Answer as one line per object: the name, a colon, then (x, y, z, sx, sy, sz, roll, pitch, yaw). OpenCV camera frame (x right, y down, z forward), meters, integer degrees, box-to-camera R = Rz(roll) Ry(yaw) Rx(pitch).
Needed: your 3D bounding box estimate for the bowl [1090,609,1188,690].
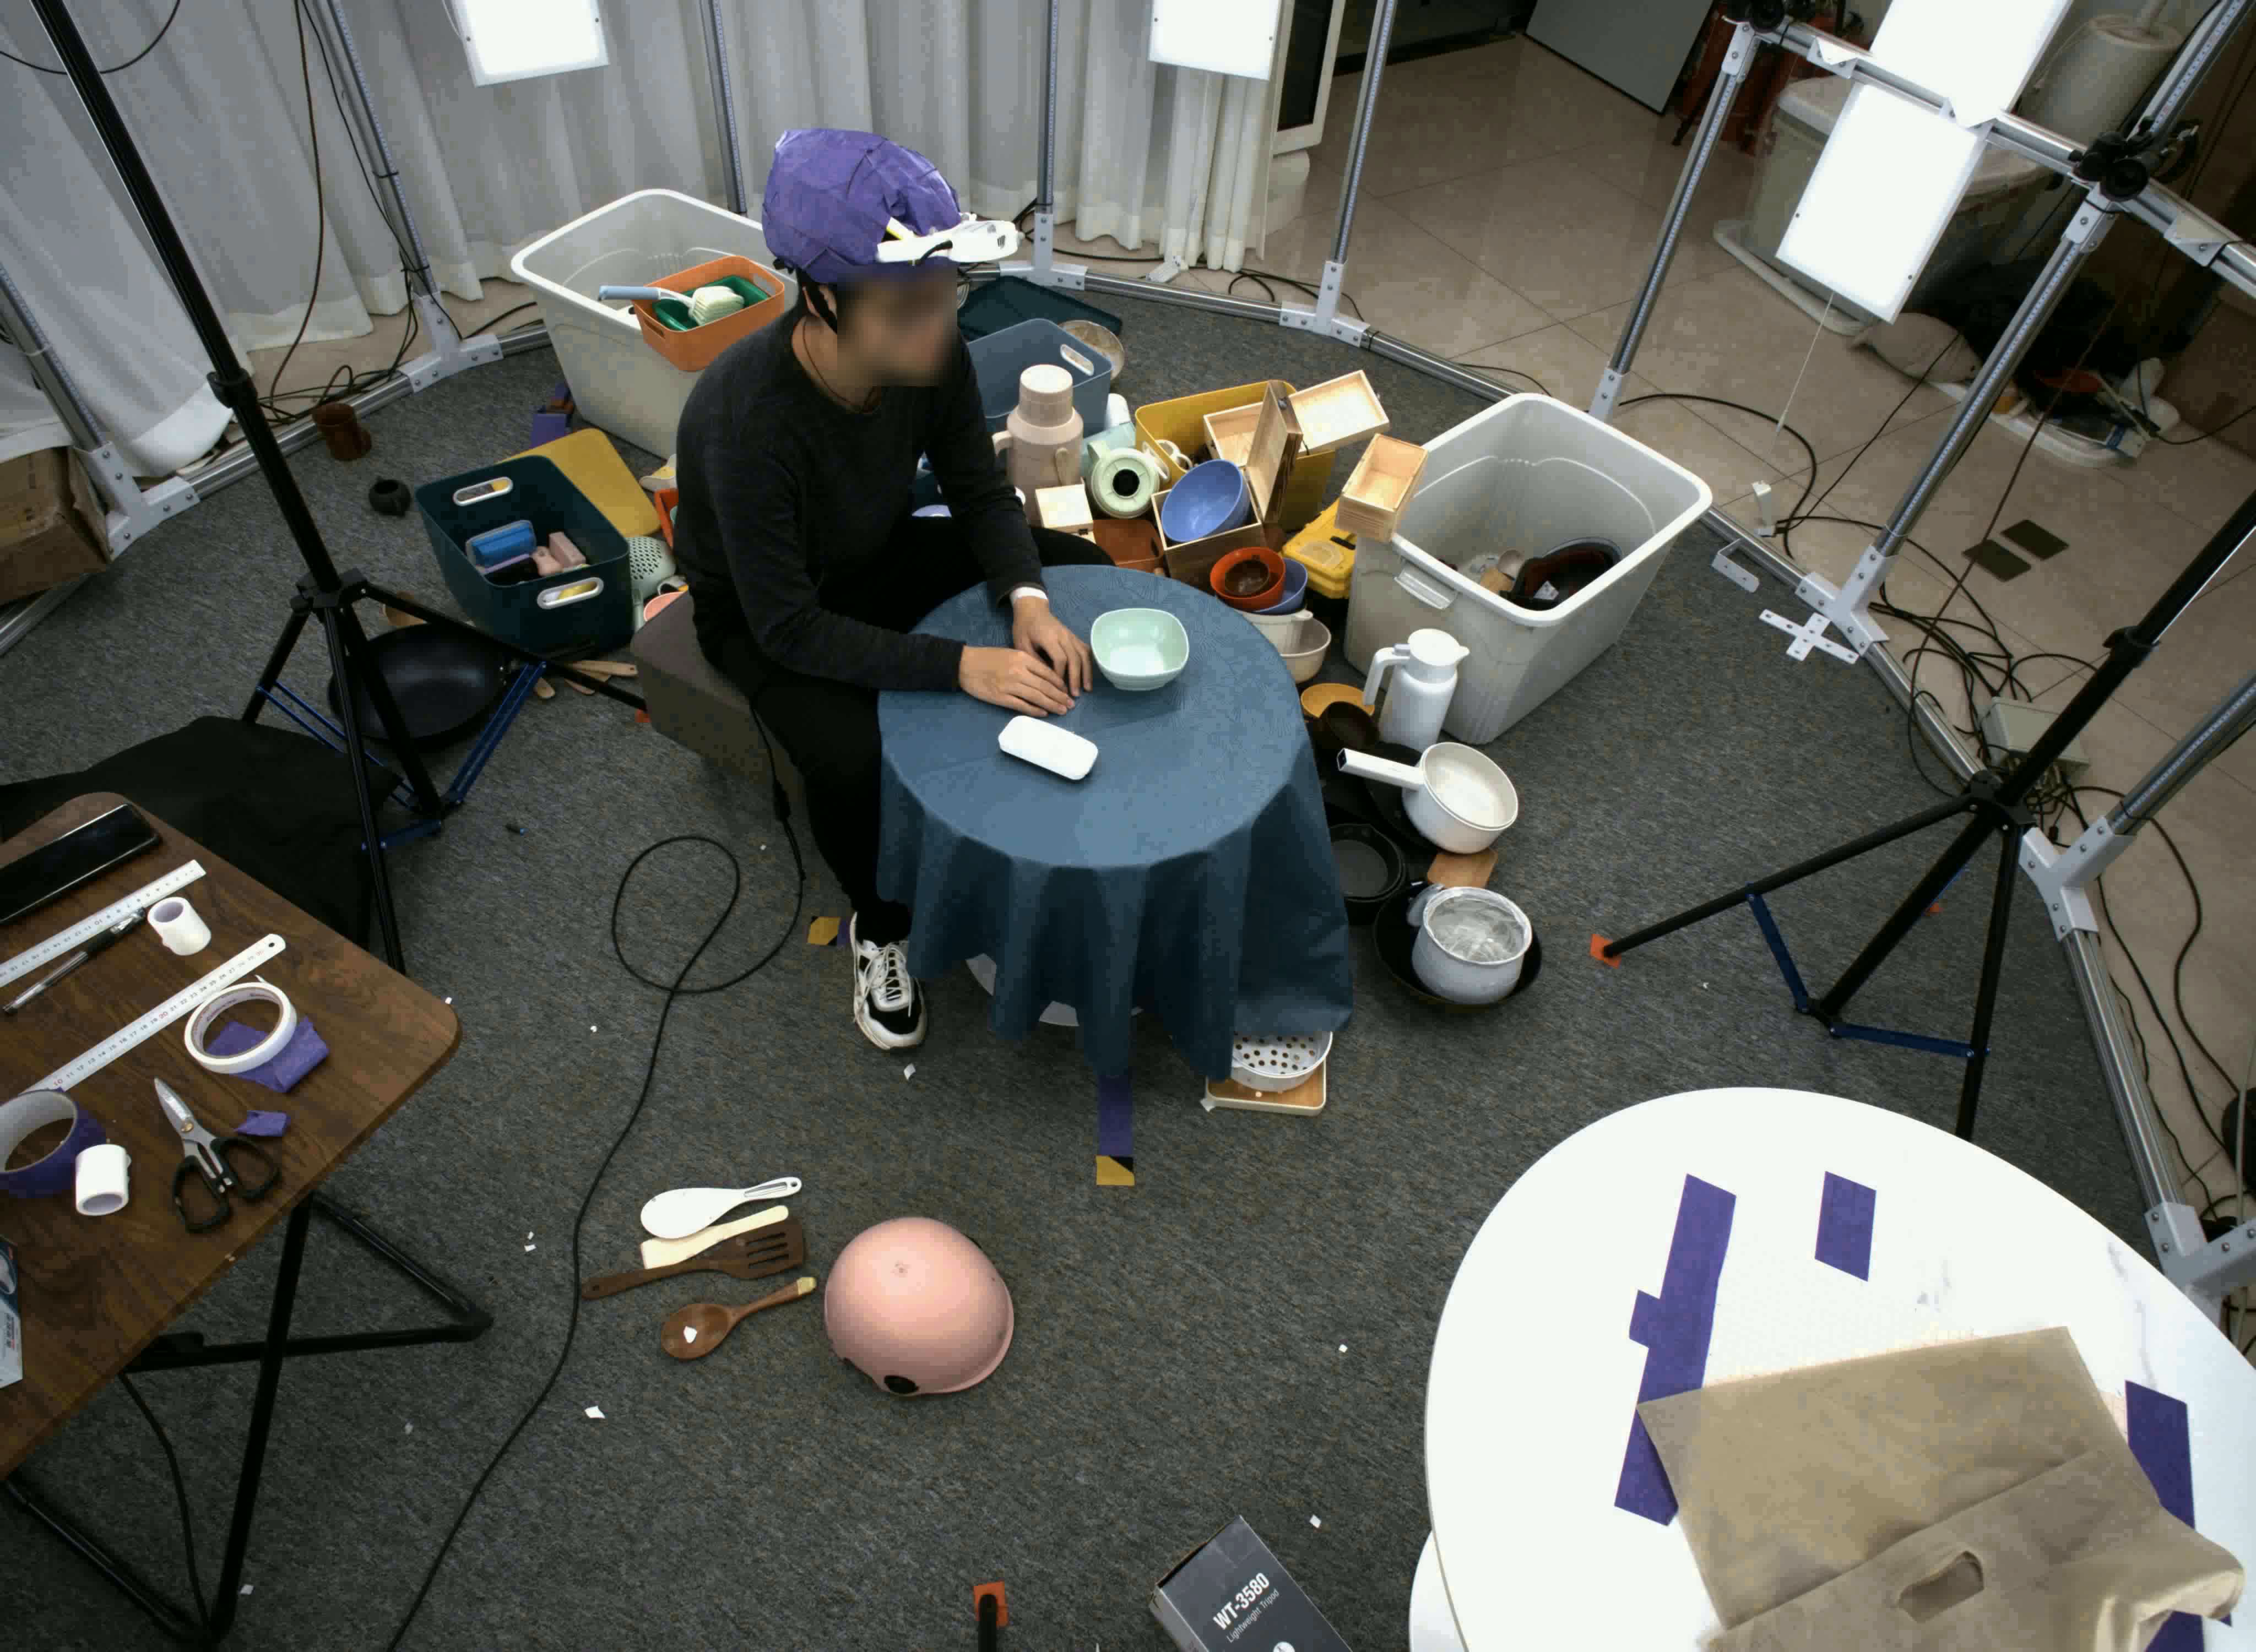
bowl: (0.014, -0.246, 1.848, 0.151, 0.057, 0.155, 3, 49, -4)

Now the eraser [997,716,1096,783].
eraser: (-0.110, -0.106, 1.734, 0.132, 0.034, 0.064, 24, 49, 14)
